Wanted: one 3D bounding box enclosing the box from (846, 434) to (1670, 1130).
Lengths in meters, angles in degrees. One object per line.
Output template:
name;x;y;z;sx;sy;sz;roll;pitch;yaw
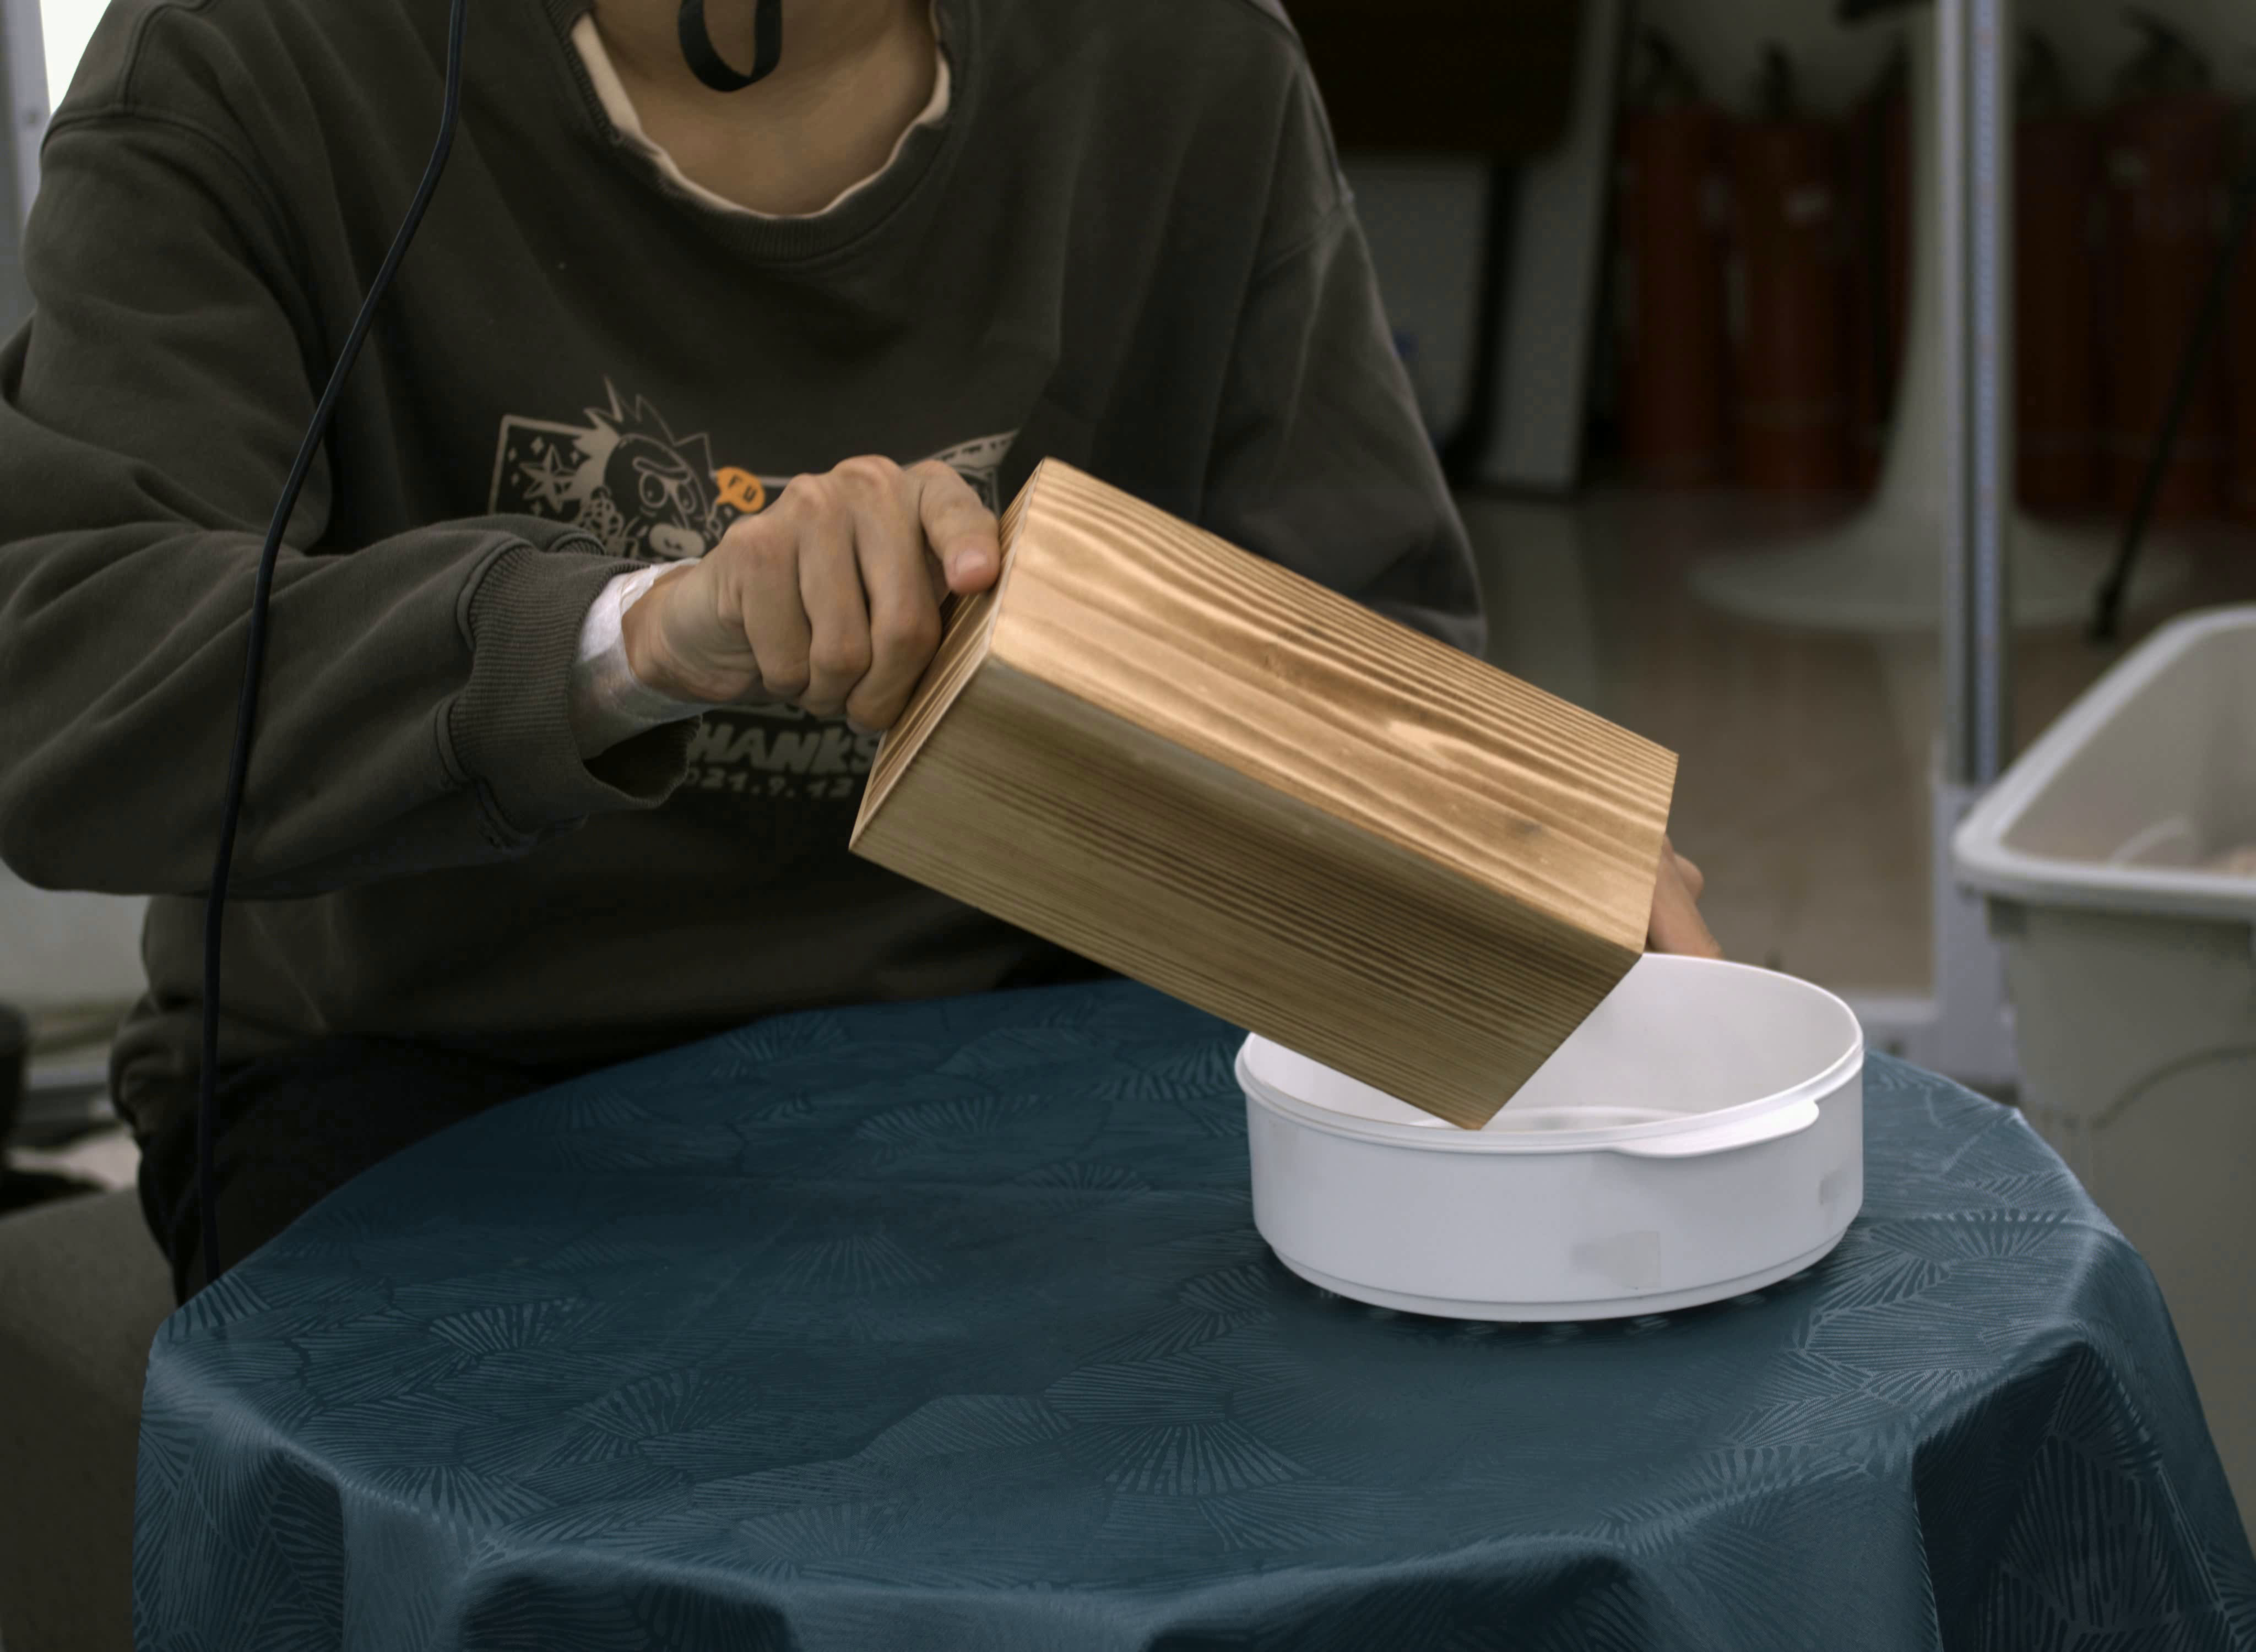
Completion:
box;0.038;-0.011;1.568;0.208;0.108;0.080;25;48;-9

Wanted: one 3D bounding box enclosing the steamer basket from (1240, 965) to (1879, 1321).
steamer basket;0.136;0.099;1.684;0.197;0.070;0.233;-10;13;-24
